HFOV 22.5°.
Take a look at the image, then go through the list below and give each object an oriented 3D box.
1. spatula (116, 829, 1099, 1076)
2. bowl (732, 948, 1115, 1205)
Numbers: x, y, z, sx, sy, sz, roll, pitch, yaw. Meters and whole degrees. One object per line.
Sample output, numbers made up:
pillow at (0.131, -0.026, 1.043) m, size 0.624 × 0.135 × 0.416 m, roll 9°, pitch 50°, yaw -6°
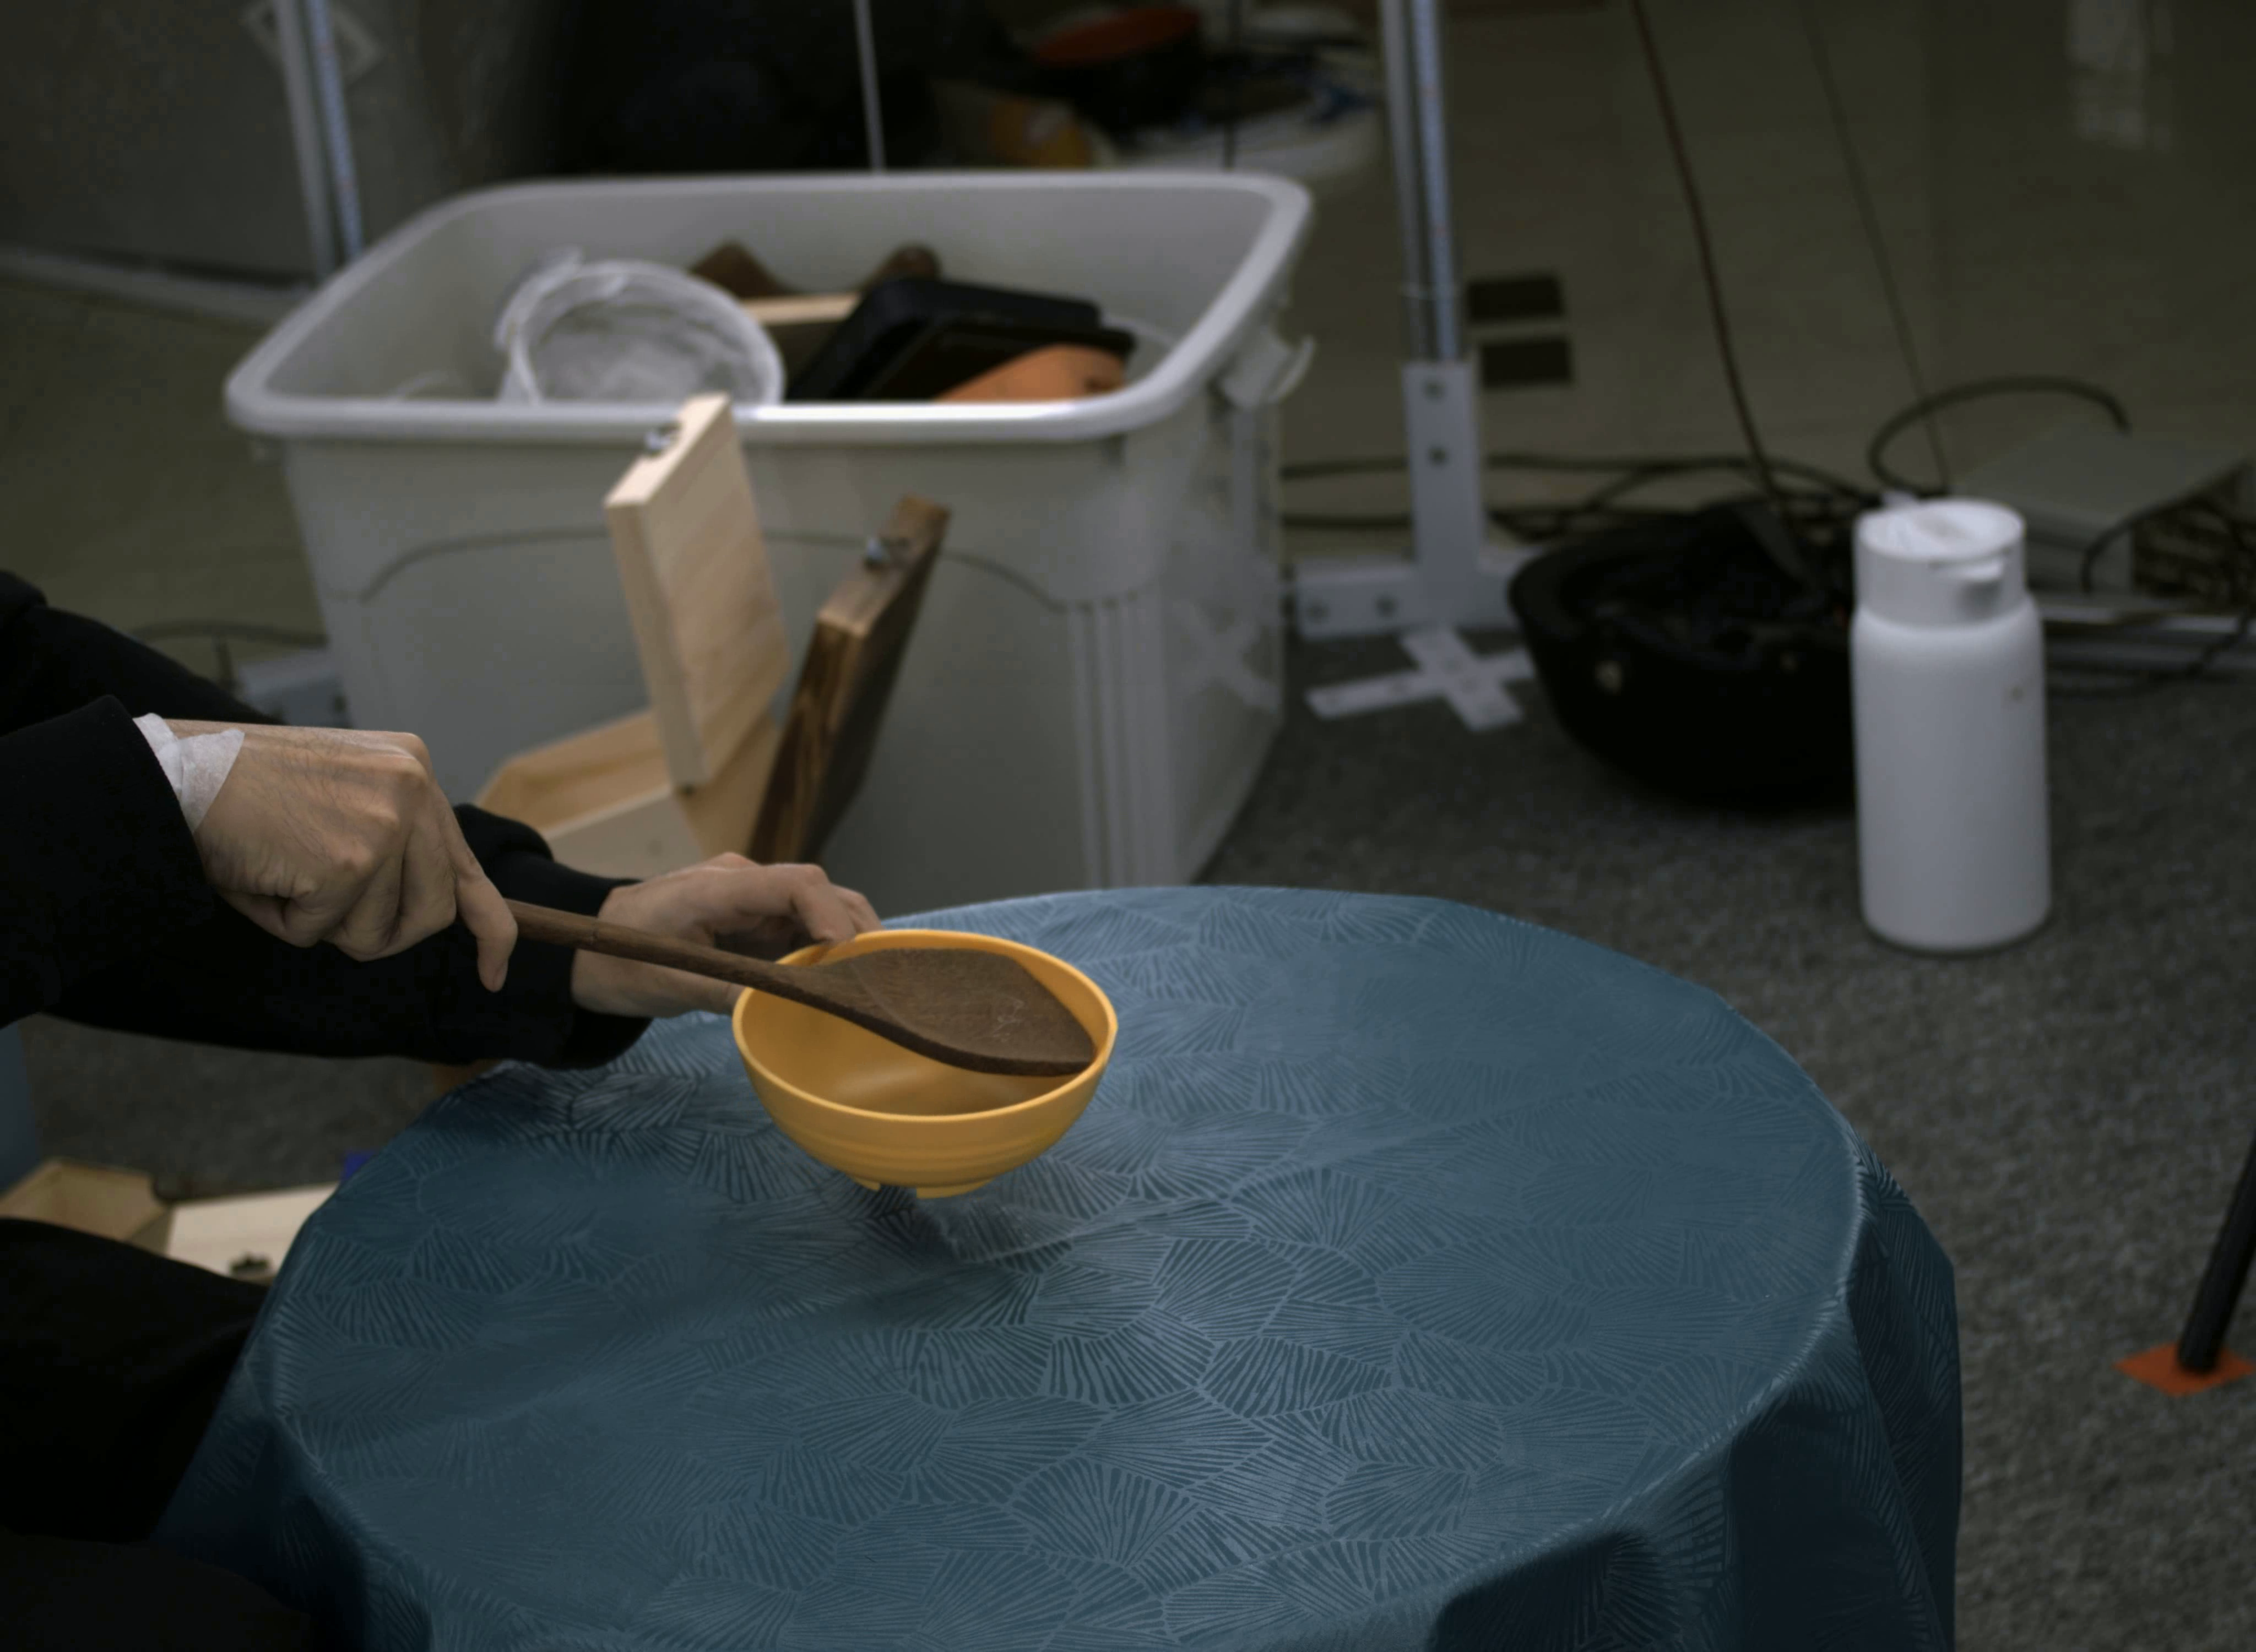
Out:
spatula at (-0.184, 0.042, 2.052) m, size 0.387 × 0.016 × 0.095 m, roll 13°, pitch 21°, yaw -30°
bowl at (-0.077, 0.102, 2.136) m, size 0.145 × 0.061 × 0.143 m, roll 2°, pitch 25°, yaw -1°
